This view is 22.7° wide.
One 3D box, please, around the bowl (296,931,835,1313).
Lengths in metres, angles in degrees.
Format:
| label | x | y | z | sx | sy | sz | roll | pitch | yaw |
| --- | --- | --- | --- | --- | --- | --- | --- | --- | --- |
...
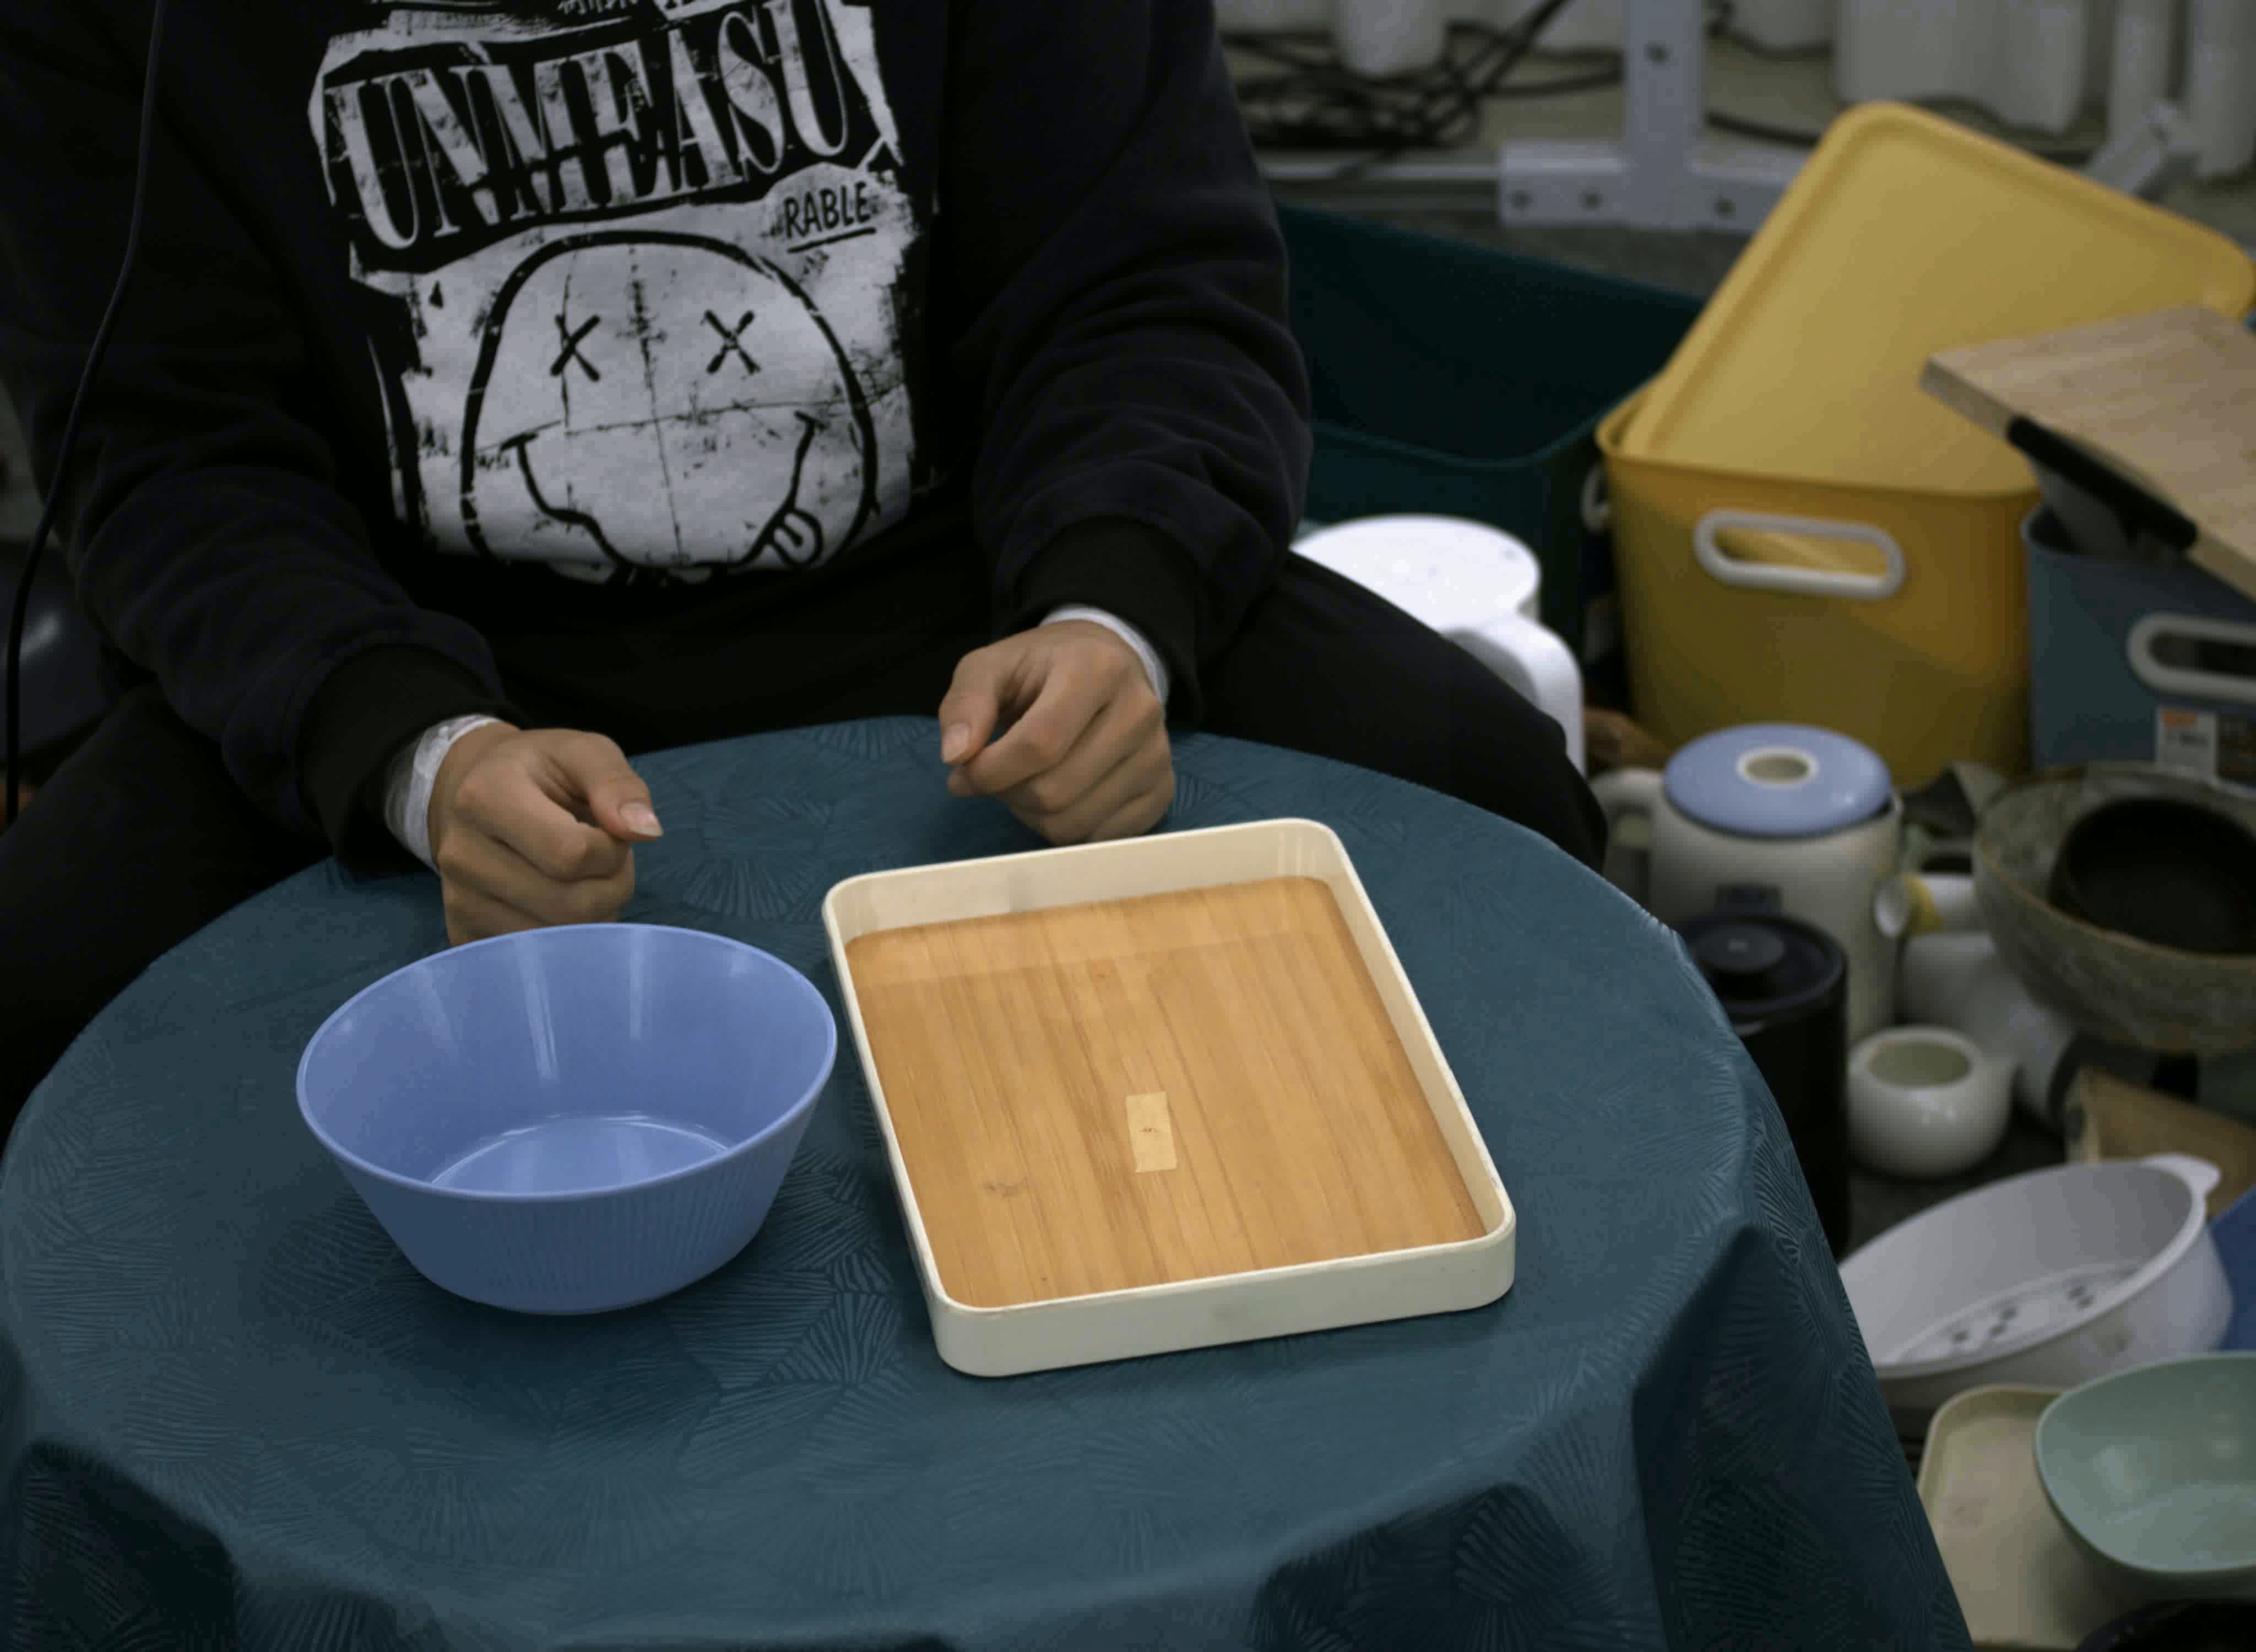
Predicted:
| label | x | y | z | sx | sy | sz | roll | pitch | yaw |
| --- | --- | --- | --- | --- | --- | --- | --- | --- | --- |
| bowl | -0.182 | 0.103 | 1.839 | 0.175 | 0.069 | 0.179 | -1 | 27 | 1 |

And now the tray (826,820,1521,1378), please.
| label | x | y | z | sx | sy | sz | roll | pitch | yaw |
| --- | --- | --- | --- | --- | --- | --- | --- | --- | --- |
| tray | 0.009 | 0.087 | 1.900 | 0.191 | 0.027 | 0.304 | -7 | 28 | -8 |
